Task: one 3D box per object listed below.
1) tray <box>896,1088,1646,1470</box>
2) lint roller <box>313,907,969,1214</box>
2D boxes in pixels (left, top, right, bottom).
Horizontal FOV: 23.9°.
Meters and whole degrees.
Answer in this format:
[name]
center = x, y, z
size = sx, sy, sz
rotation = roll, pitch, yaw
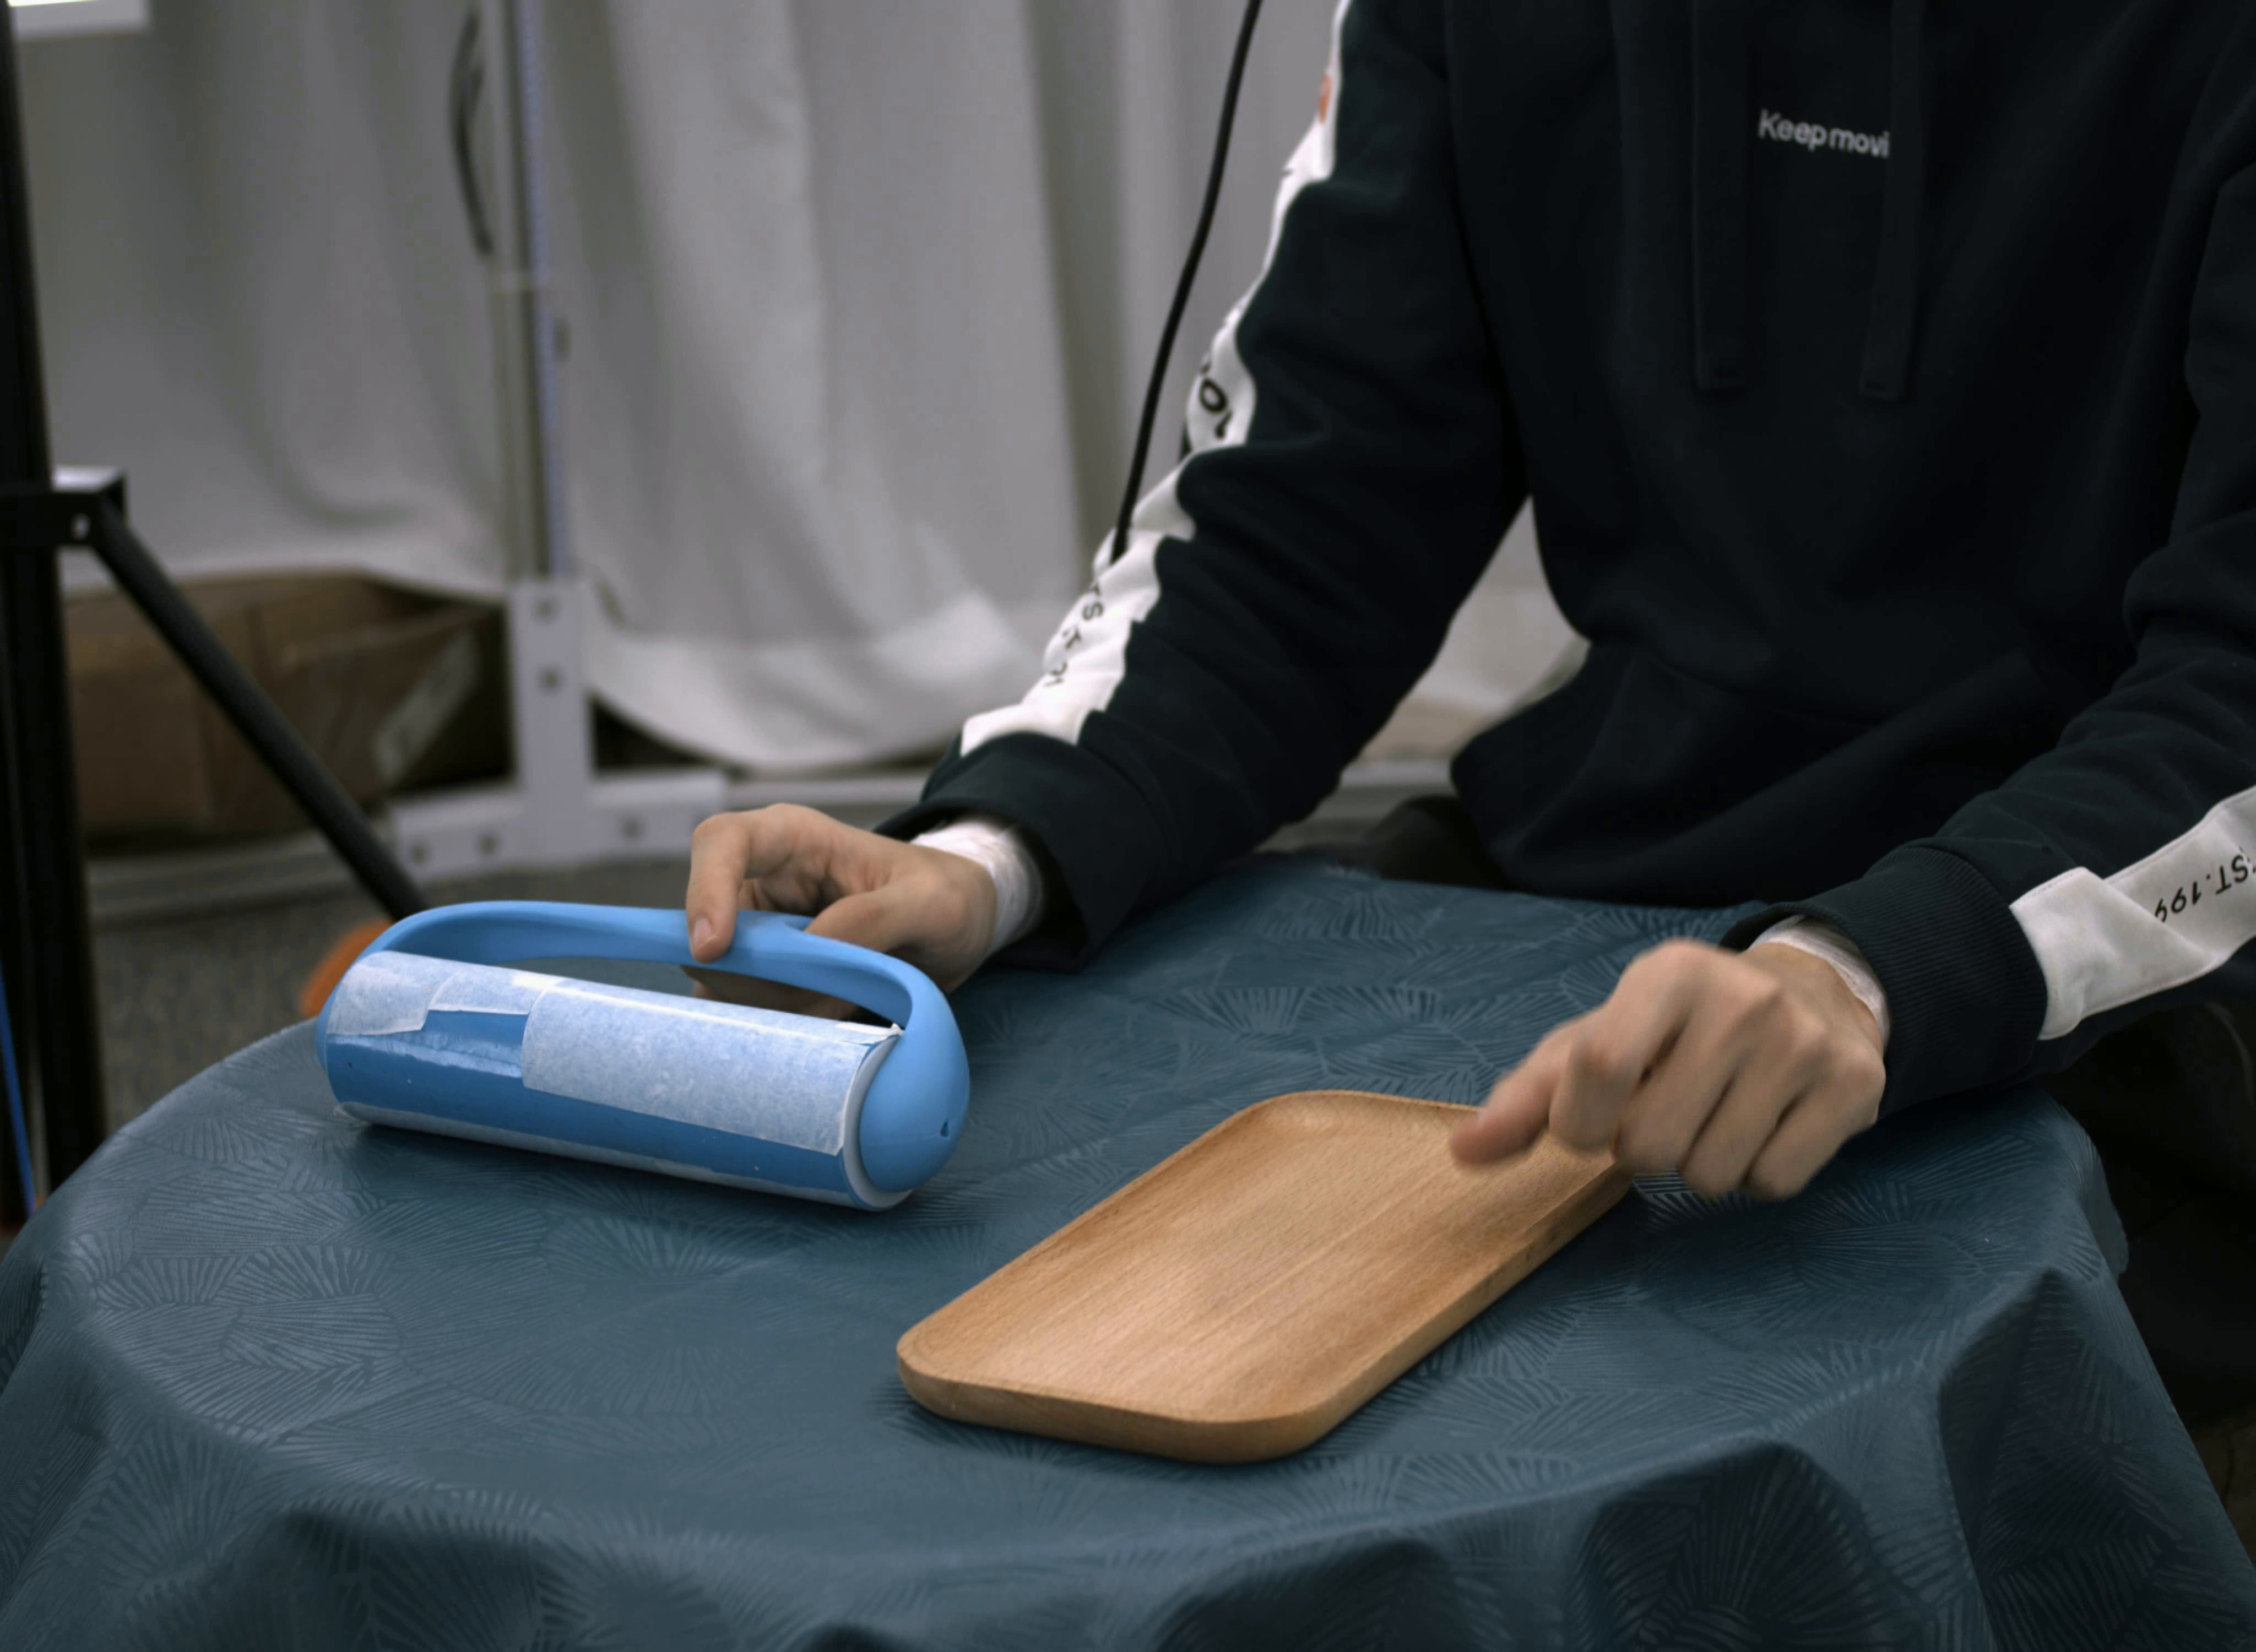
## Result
[tray]
center = 0.044, 0.122, 1.469
size = 0.133, 0.023, 0.246
rotation = 9, 19, 29
[lint roller]
center = -0.122, 0.059, 1.647
size = 0.233, 0.068, 0.177
rotation = 5, 18, 30
